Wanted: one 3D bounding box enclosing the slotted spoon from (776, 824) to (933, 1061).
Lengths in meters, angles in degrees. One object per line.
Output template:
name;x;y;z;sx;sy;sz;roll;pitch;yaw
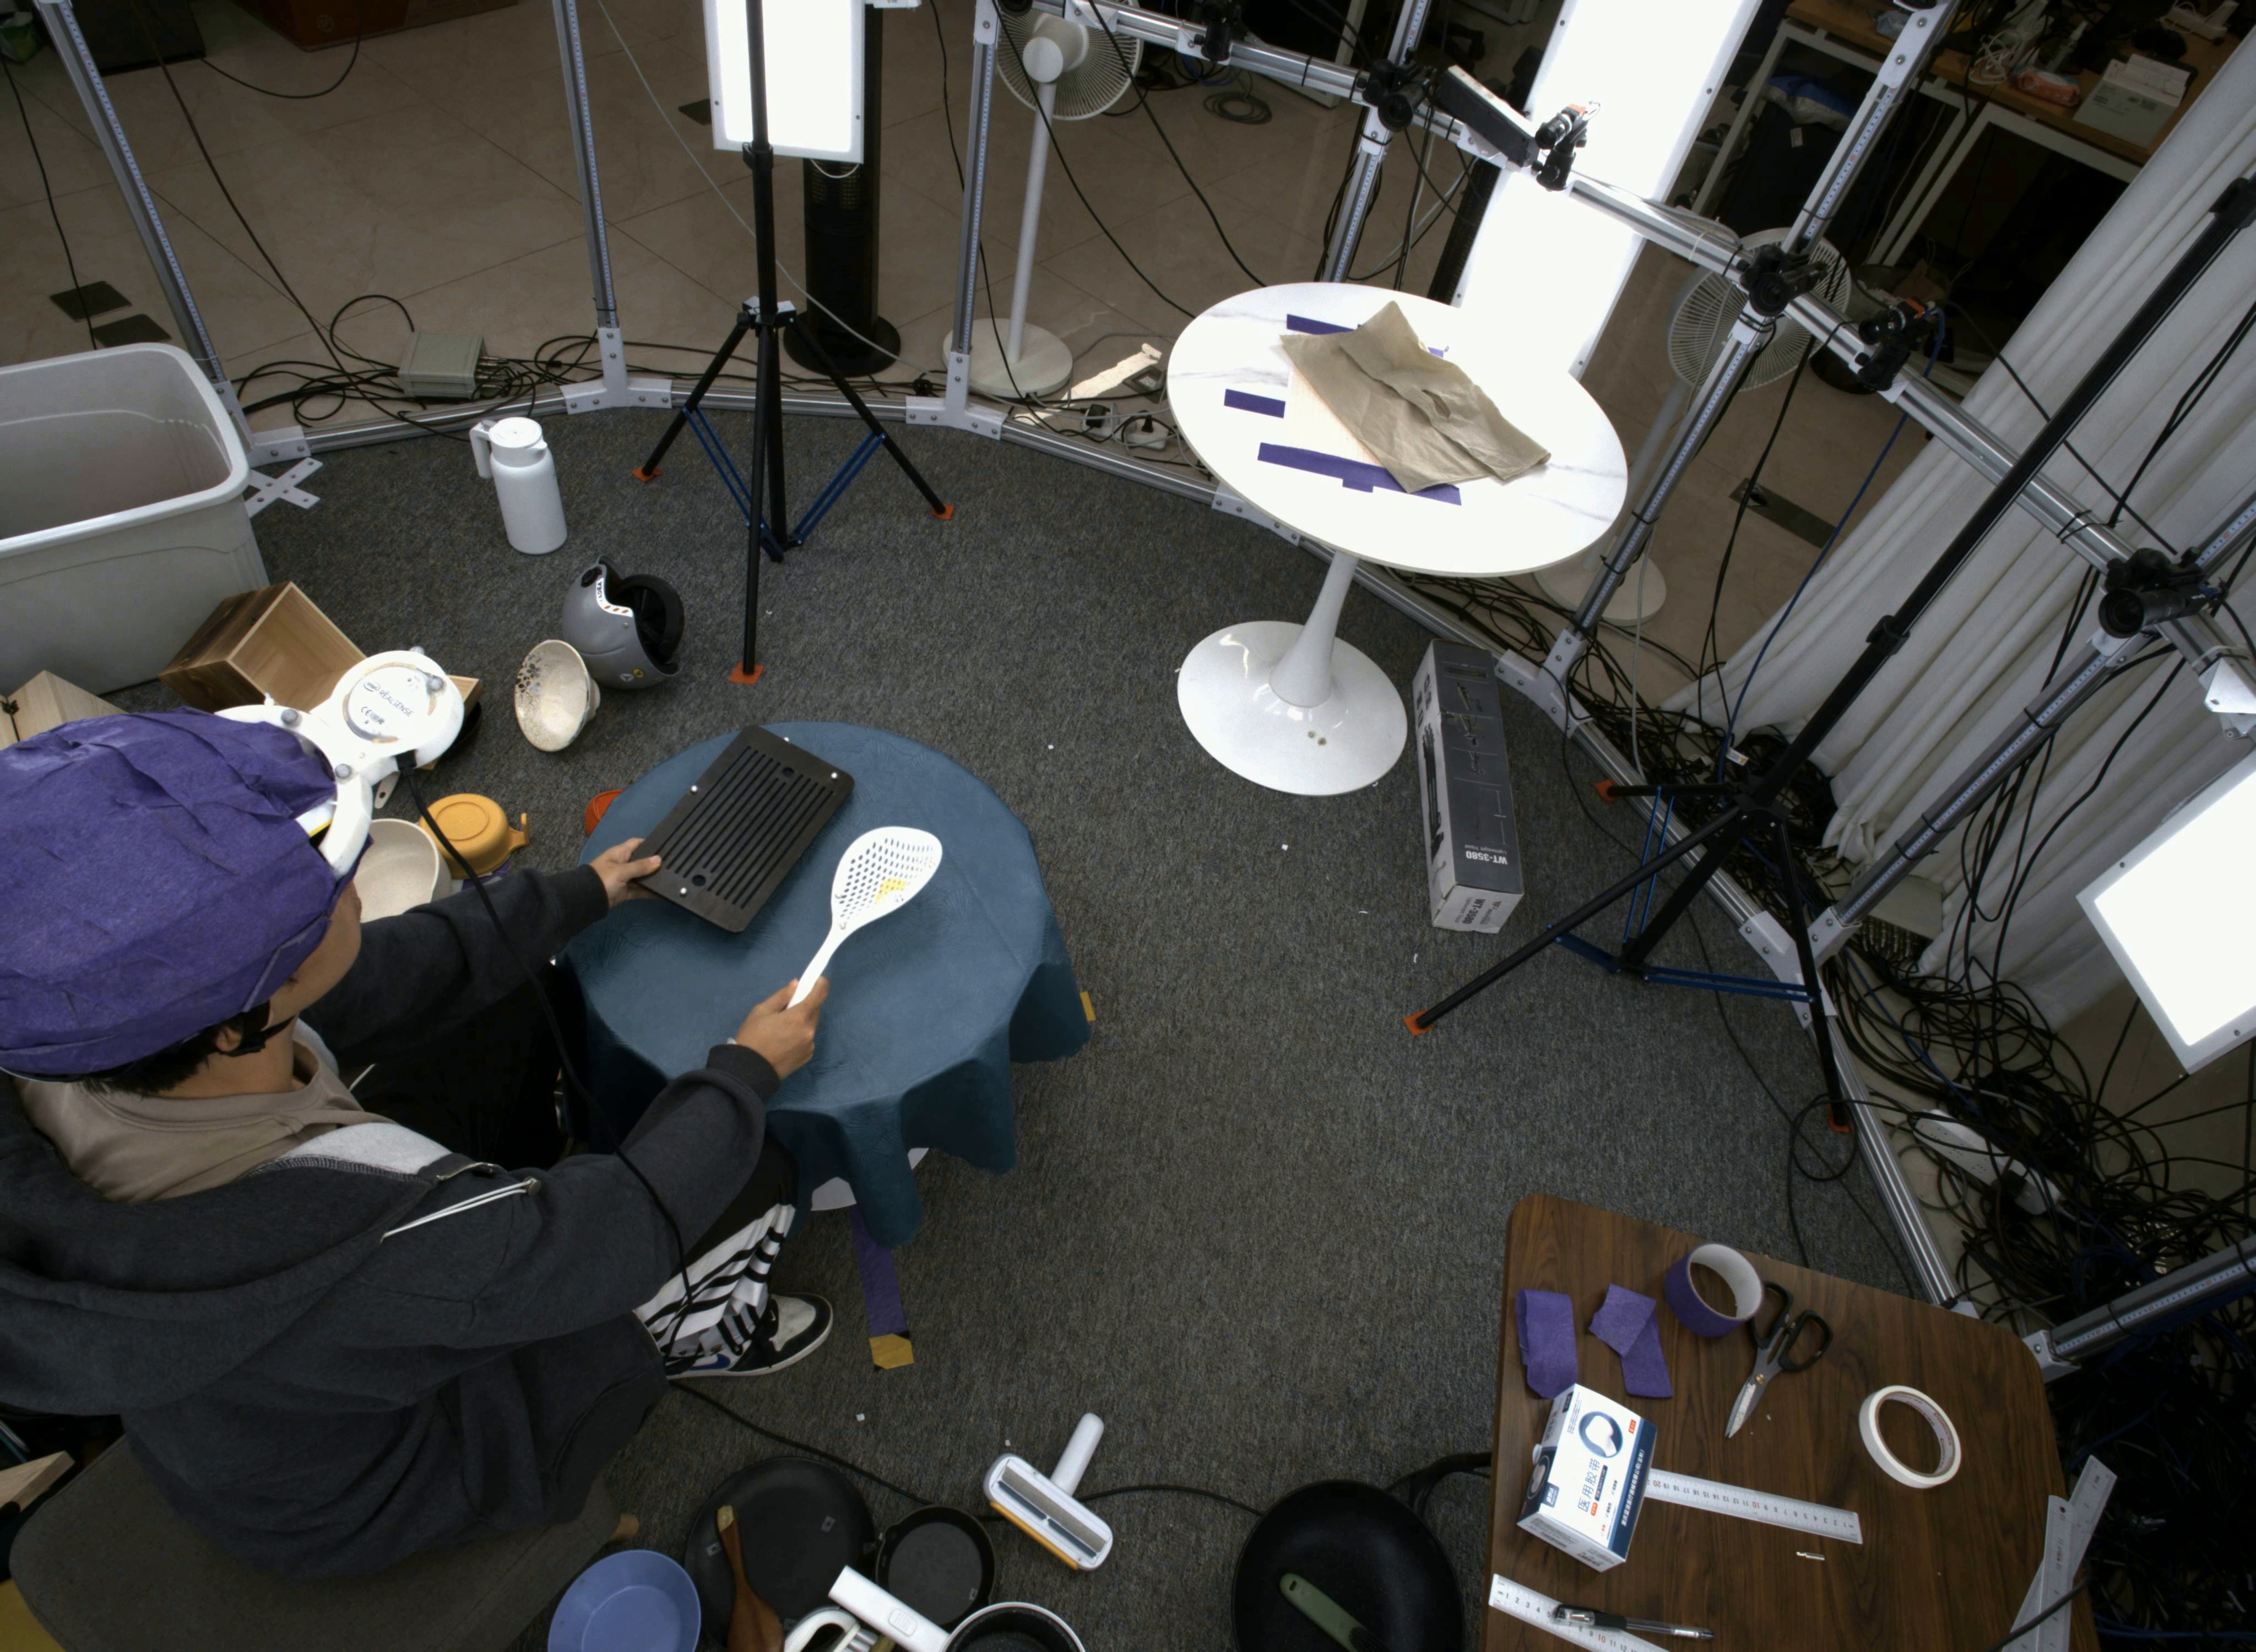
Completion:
slotted spoon;-0.348;0.131;1.576;0.133;0.052;0.345;9;46;19

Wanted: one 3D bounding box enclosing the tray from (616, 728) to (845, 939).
tray;-0.506;0.003;1.661;0.169;0.019;0.303;28;47;-2
